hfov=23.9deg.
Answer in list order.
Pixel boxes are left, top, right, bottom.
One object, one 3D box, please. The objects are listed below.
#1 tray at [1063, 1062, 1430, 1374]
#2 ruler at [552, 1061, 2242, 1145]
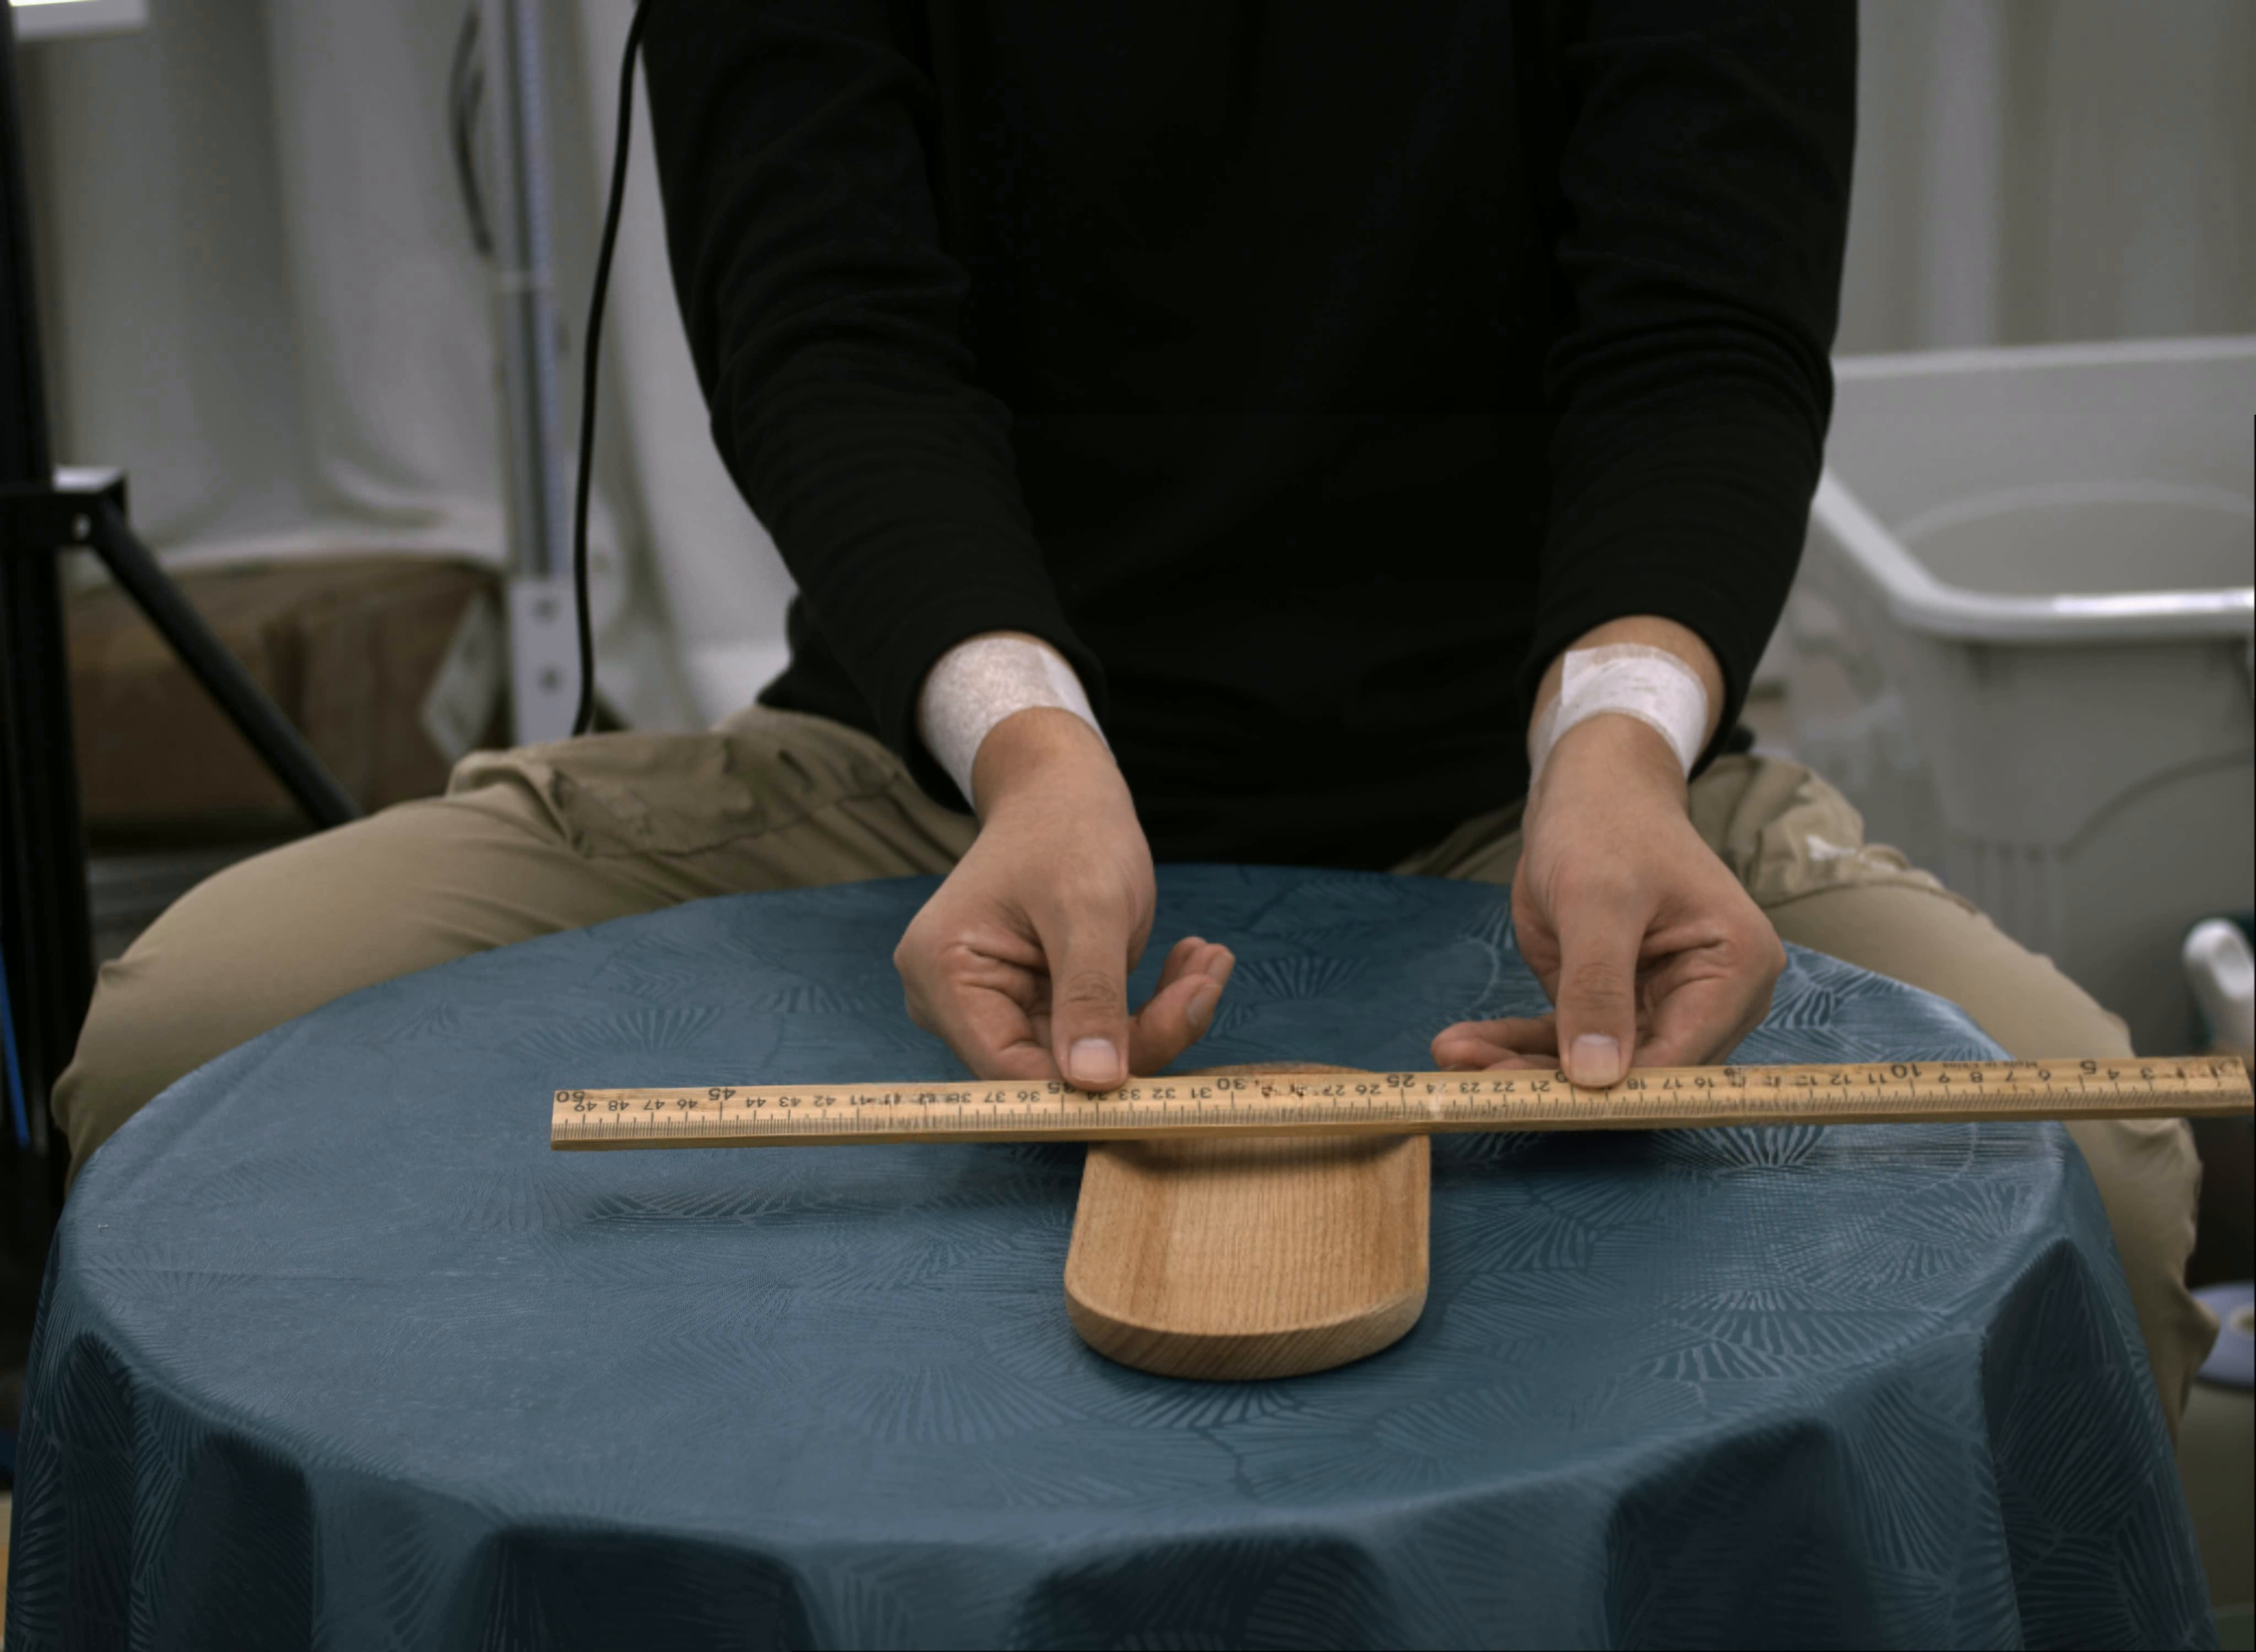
[{"bbox_3d":[0.034,0.109,1.516,0.101,0.020,0.232,-1,14,1],"label":"tray"},{"bbox_3d":[0.080,0.082,1.555,0.498,0.006,0.027,-1,32,2],"label":"ruler"}]
